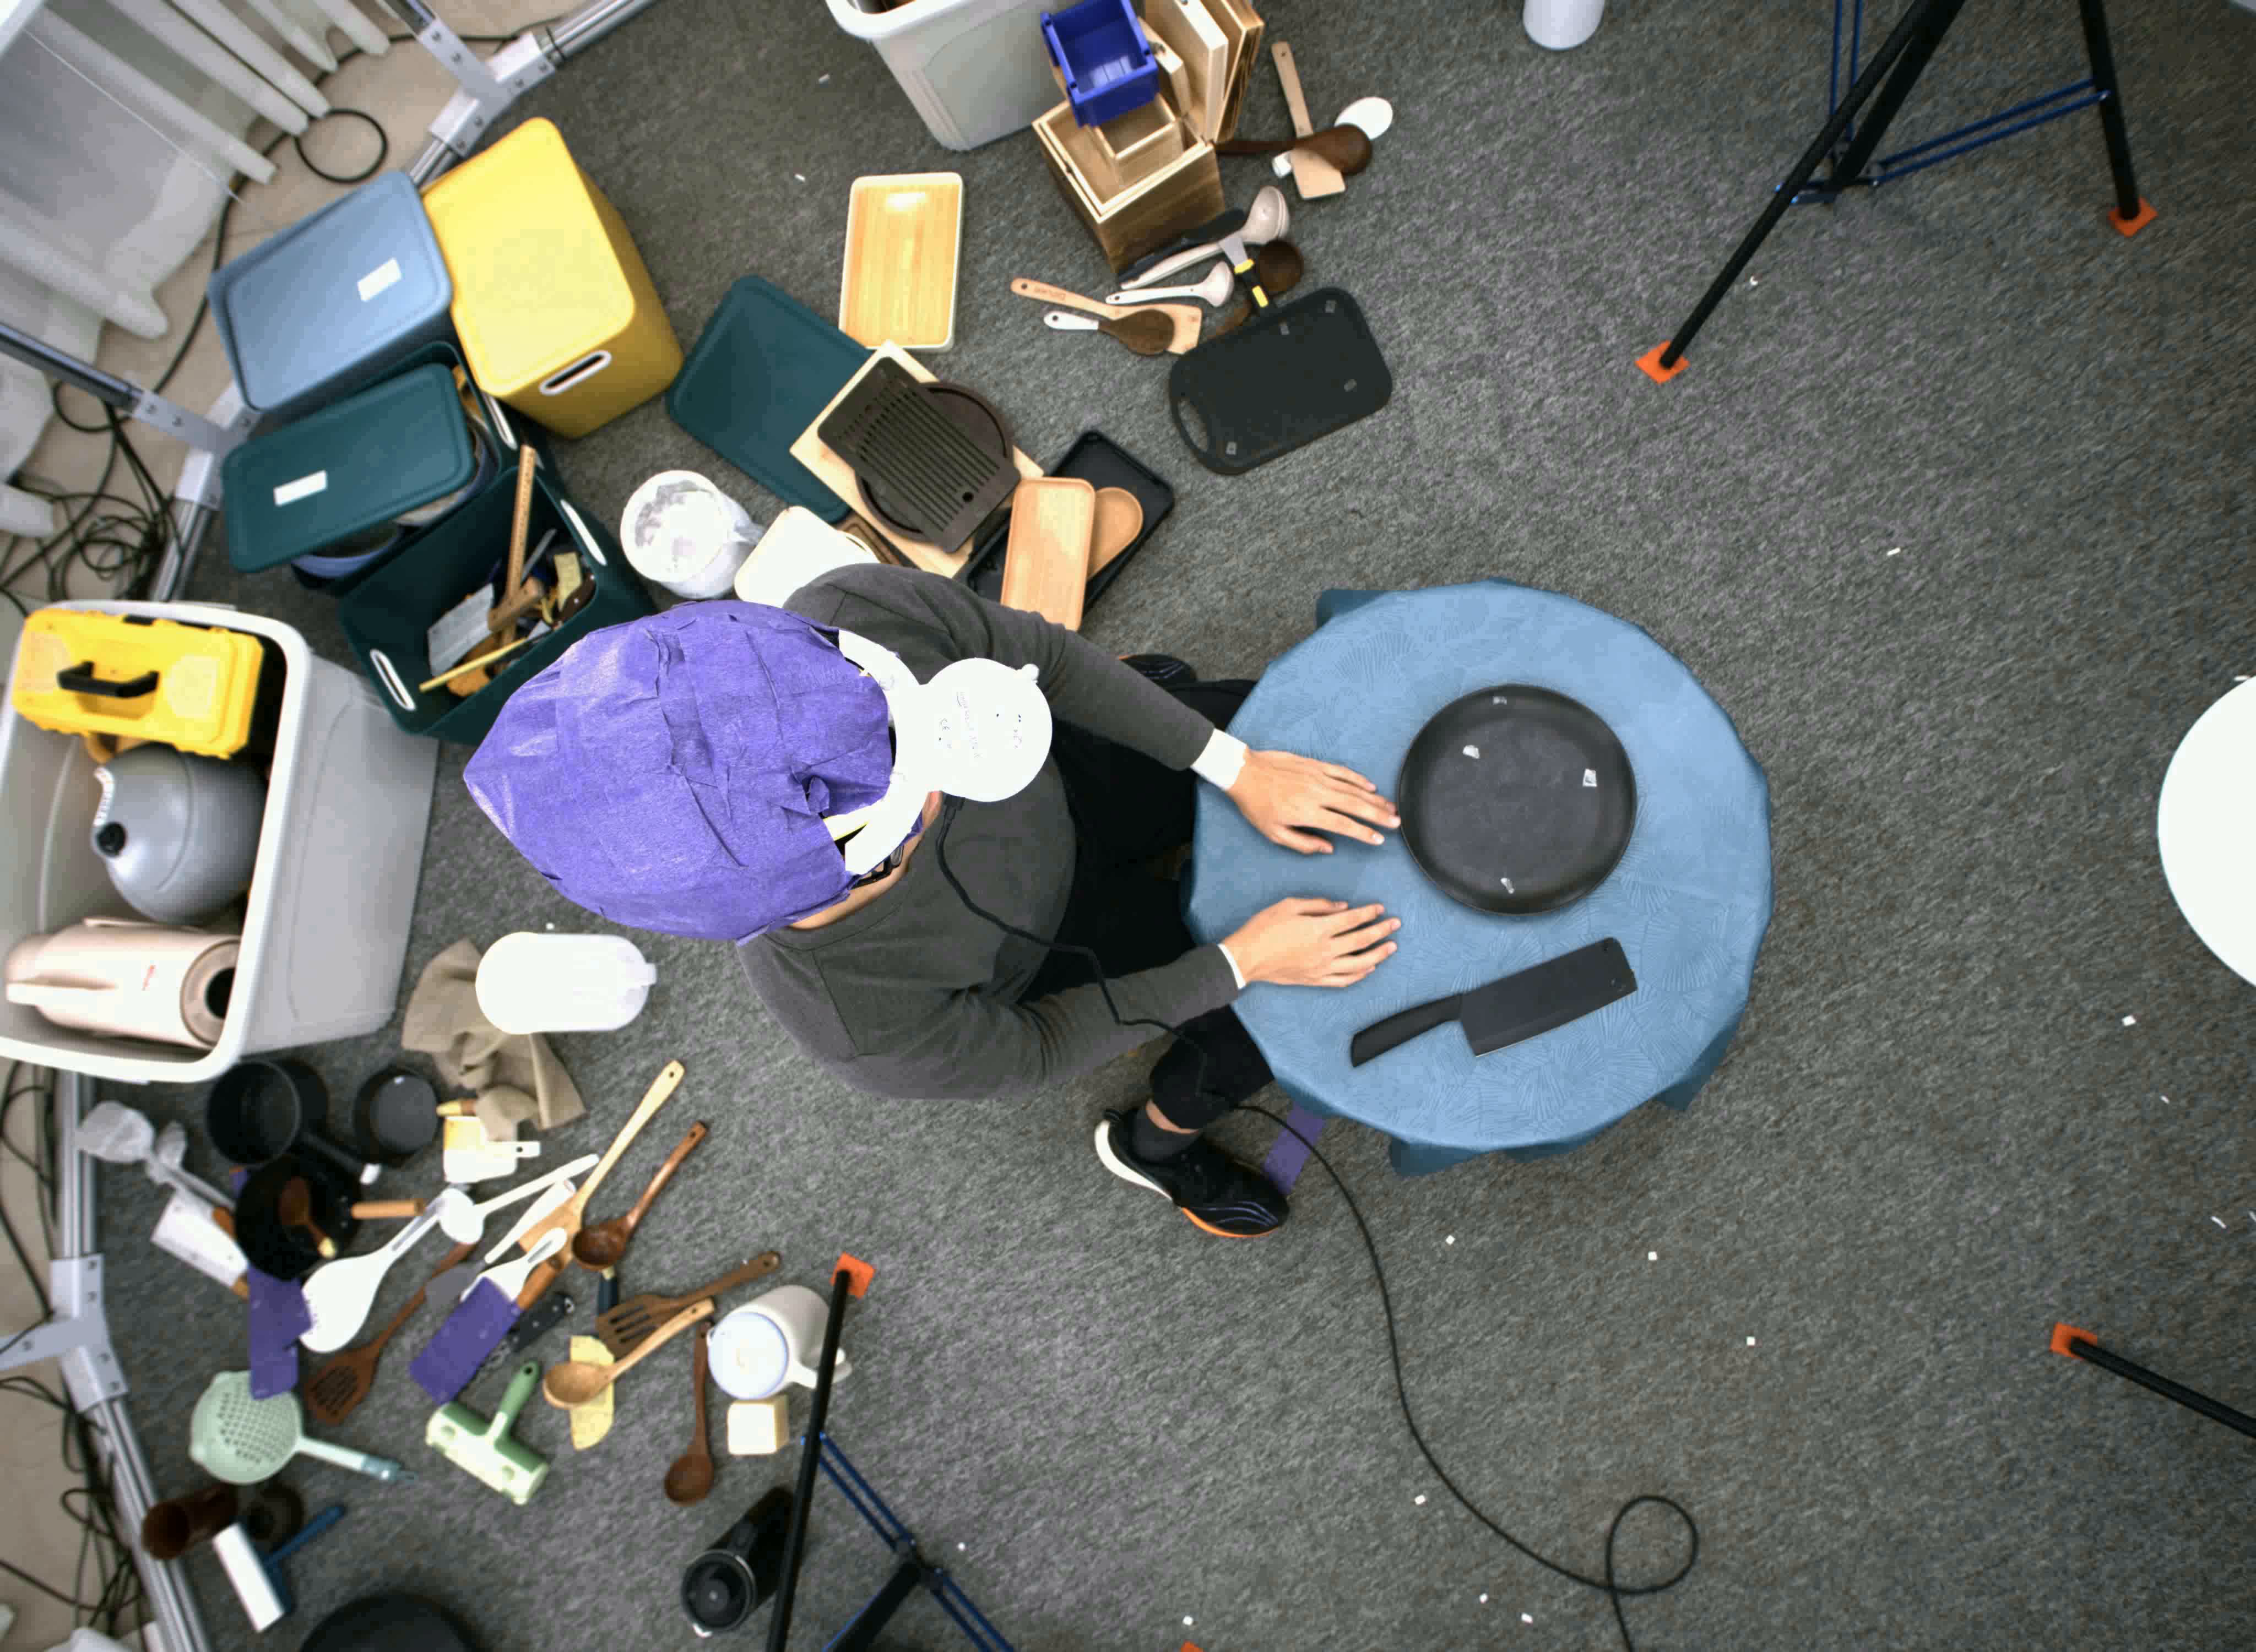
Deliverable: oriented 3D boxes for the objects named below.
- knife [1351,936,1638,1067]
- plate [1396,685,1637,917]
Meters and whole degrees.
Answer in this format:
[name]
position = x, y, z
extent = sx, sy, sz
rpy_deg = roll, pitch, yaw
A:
[knife]
position = 0.375, 0.191, 1.427
extent = 0.304, 0.021, 0.080
rpy_deg = -18, 85, 8
[plate]
position = 0.403, -0.028, 1.429
extent = 0.245, 0.023, 0.243
rpy_deg = -1, 87, 11
